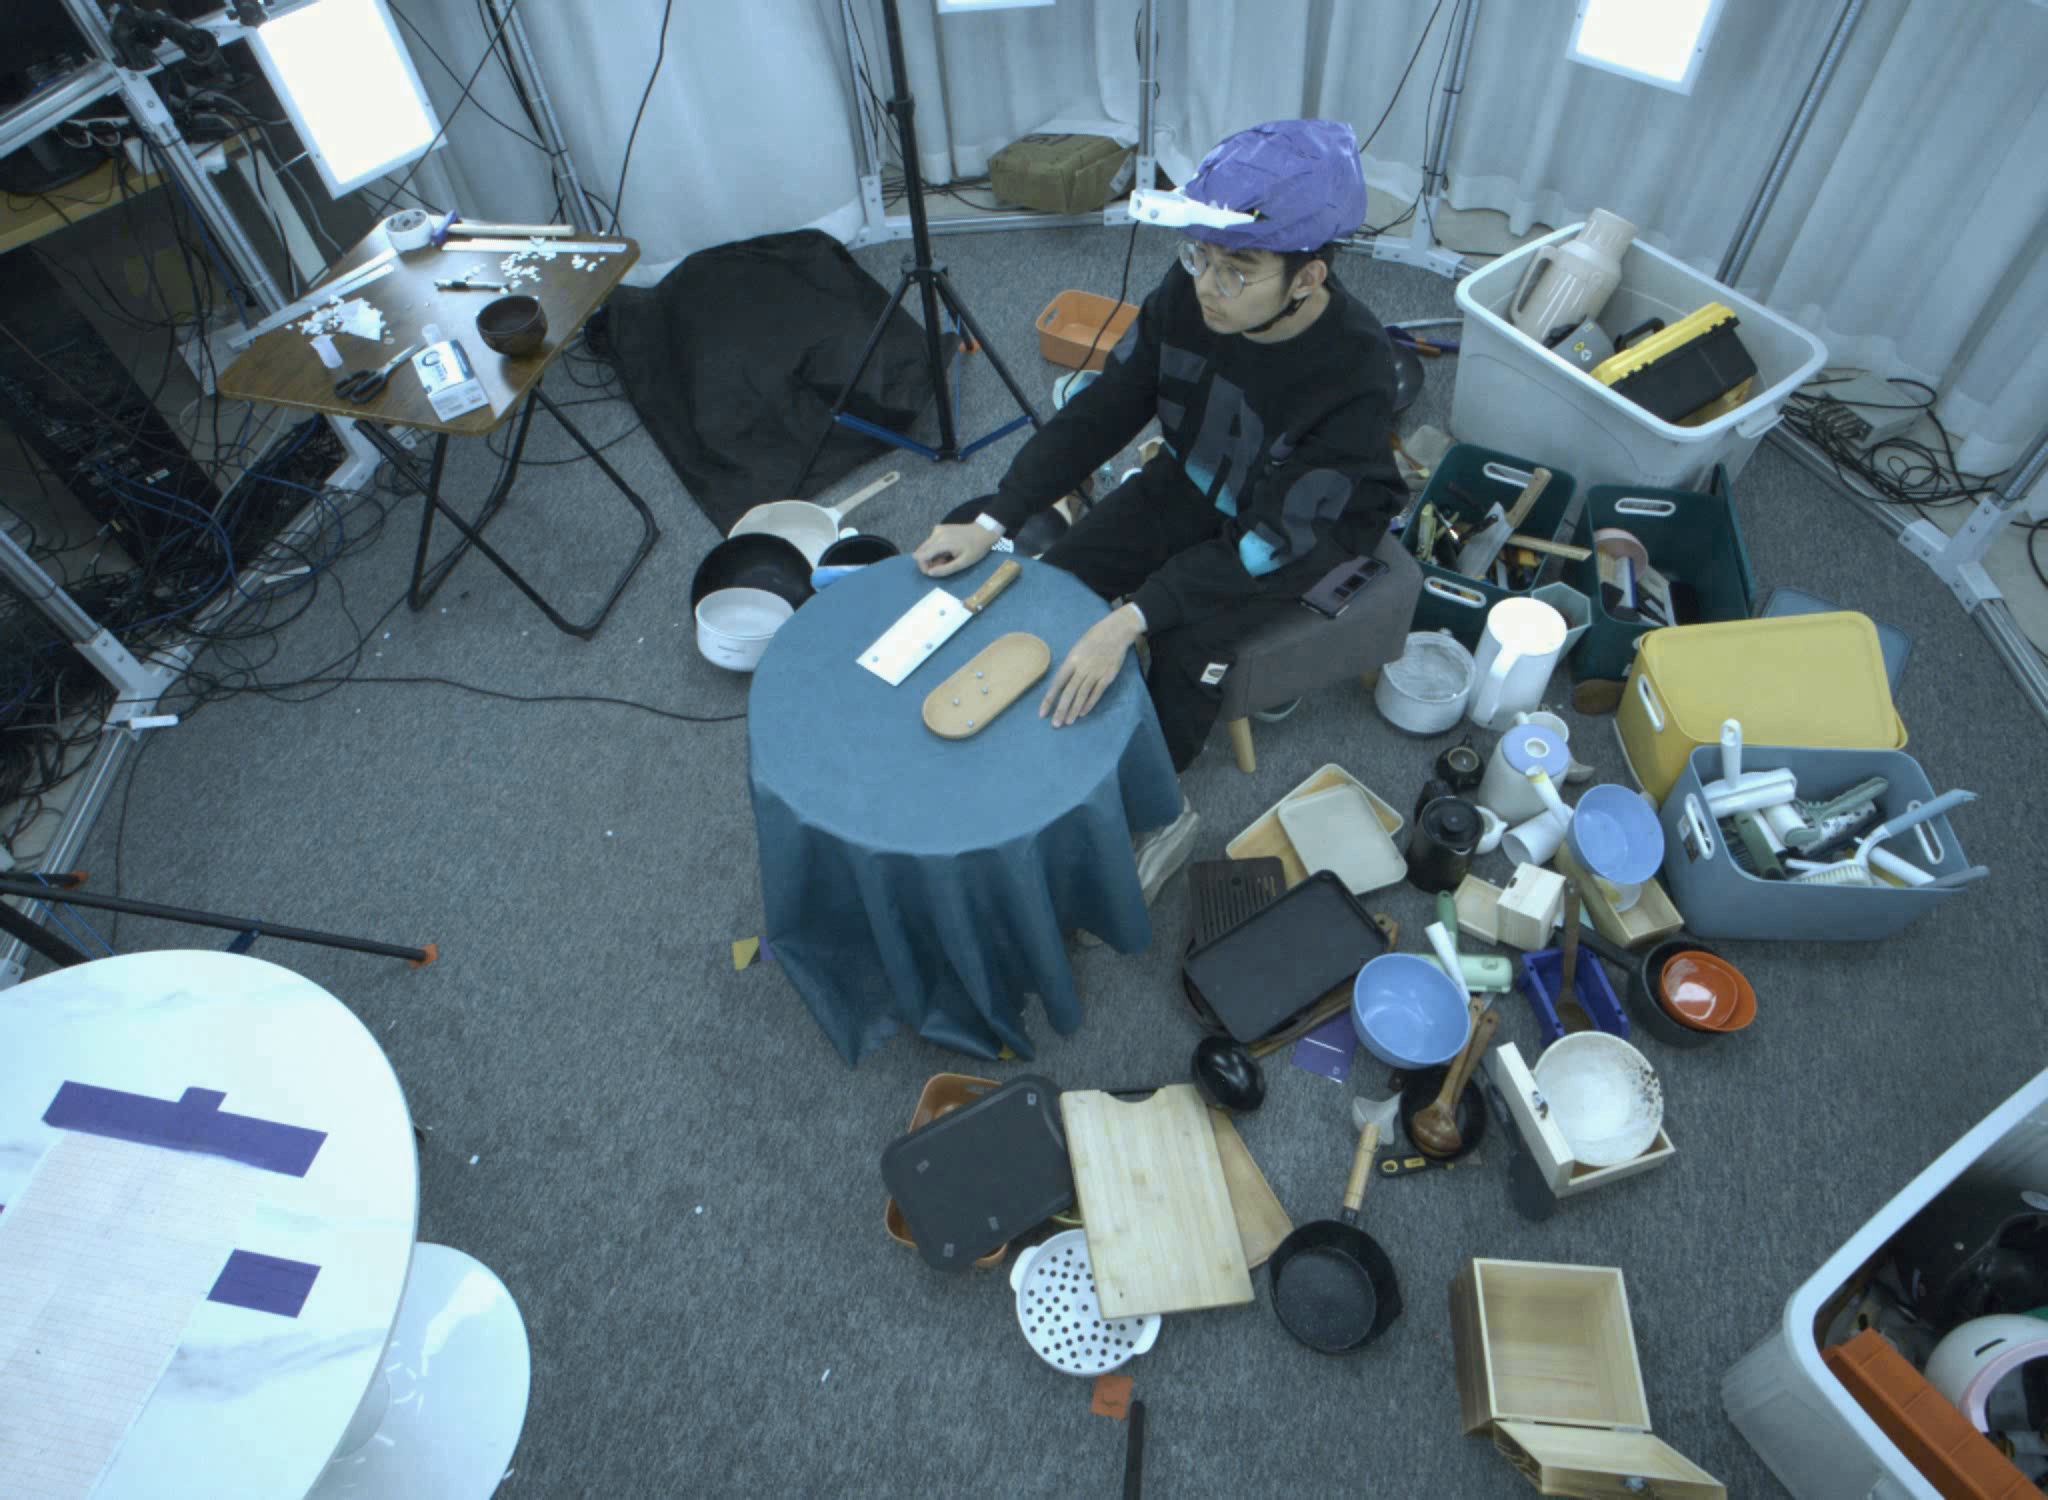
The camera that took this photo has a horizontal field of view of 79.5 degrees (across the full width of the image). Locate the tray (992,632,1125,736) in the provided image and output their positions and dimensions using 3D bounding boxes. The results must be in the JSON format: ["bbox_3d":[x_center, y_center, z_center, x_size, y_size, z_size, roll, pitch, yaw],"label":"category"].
[{"bbox_3d":[0.053,-0.100,1.845,0.233,0.020,0.100,-36,62,-22],"label":"tray"}]

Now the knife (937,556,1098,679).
[{"bbox_3d":[-0.013,-0.221,1.935,0.091,0.021,0.307,36,65,27],"label":"knife"}]
